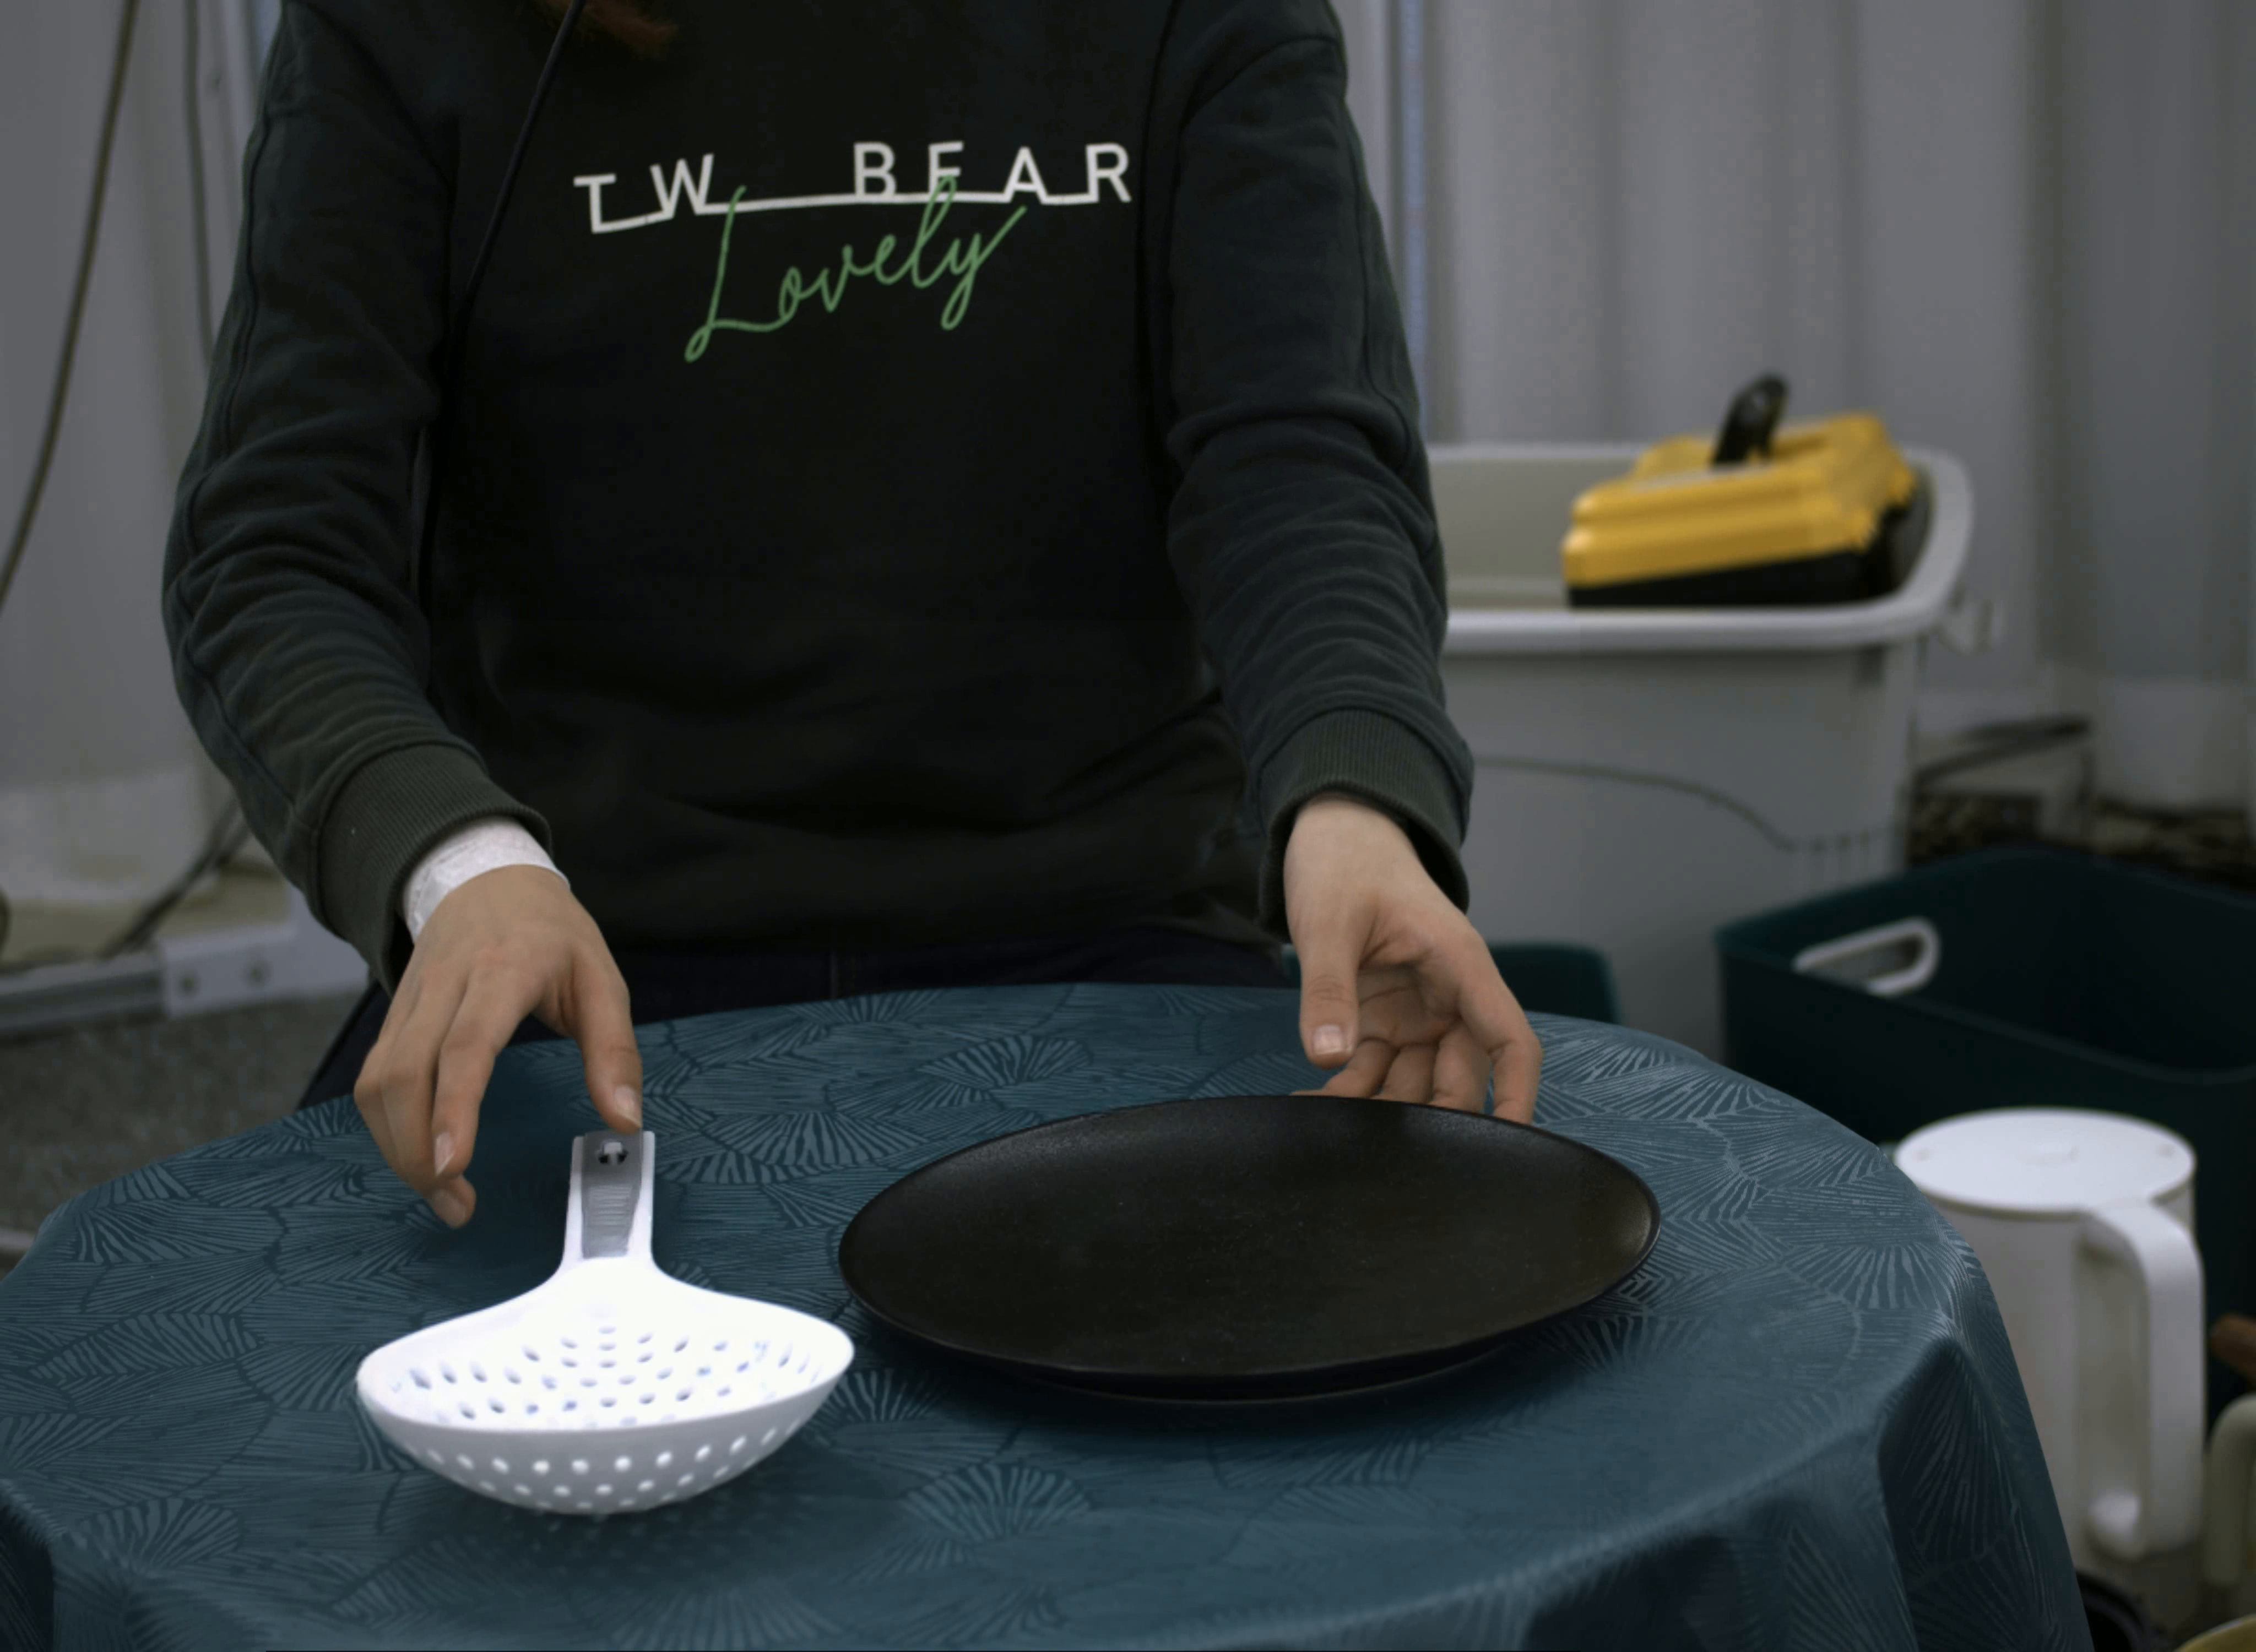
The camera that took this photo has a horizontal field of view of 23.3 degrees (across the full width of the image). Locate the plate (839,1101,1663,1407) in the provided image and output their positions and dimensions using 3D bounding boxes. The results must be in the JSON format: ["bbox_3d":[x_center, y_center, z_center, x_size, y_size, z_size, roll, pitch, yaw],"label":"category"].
[{"bbox_3d":[0.036,0.128,1.613,0.243,0.023,0.246,-3,15,0],"label":"plate"}]

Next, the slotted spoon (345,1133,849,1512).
[{"bbox_3d":[-0.151,0.134,1.583,0.135,0.045,0.352,-2,14,-4],"label":"slotted spoon"}]
